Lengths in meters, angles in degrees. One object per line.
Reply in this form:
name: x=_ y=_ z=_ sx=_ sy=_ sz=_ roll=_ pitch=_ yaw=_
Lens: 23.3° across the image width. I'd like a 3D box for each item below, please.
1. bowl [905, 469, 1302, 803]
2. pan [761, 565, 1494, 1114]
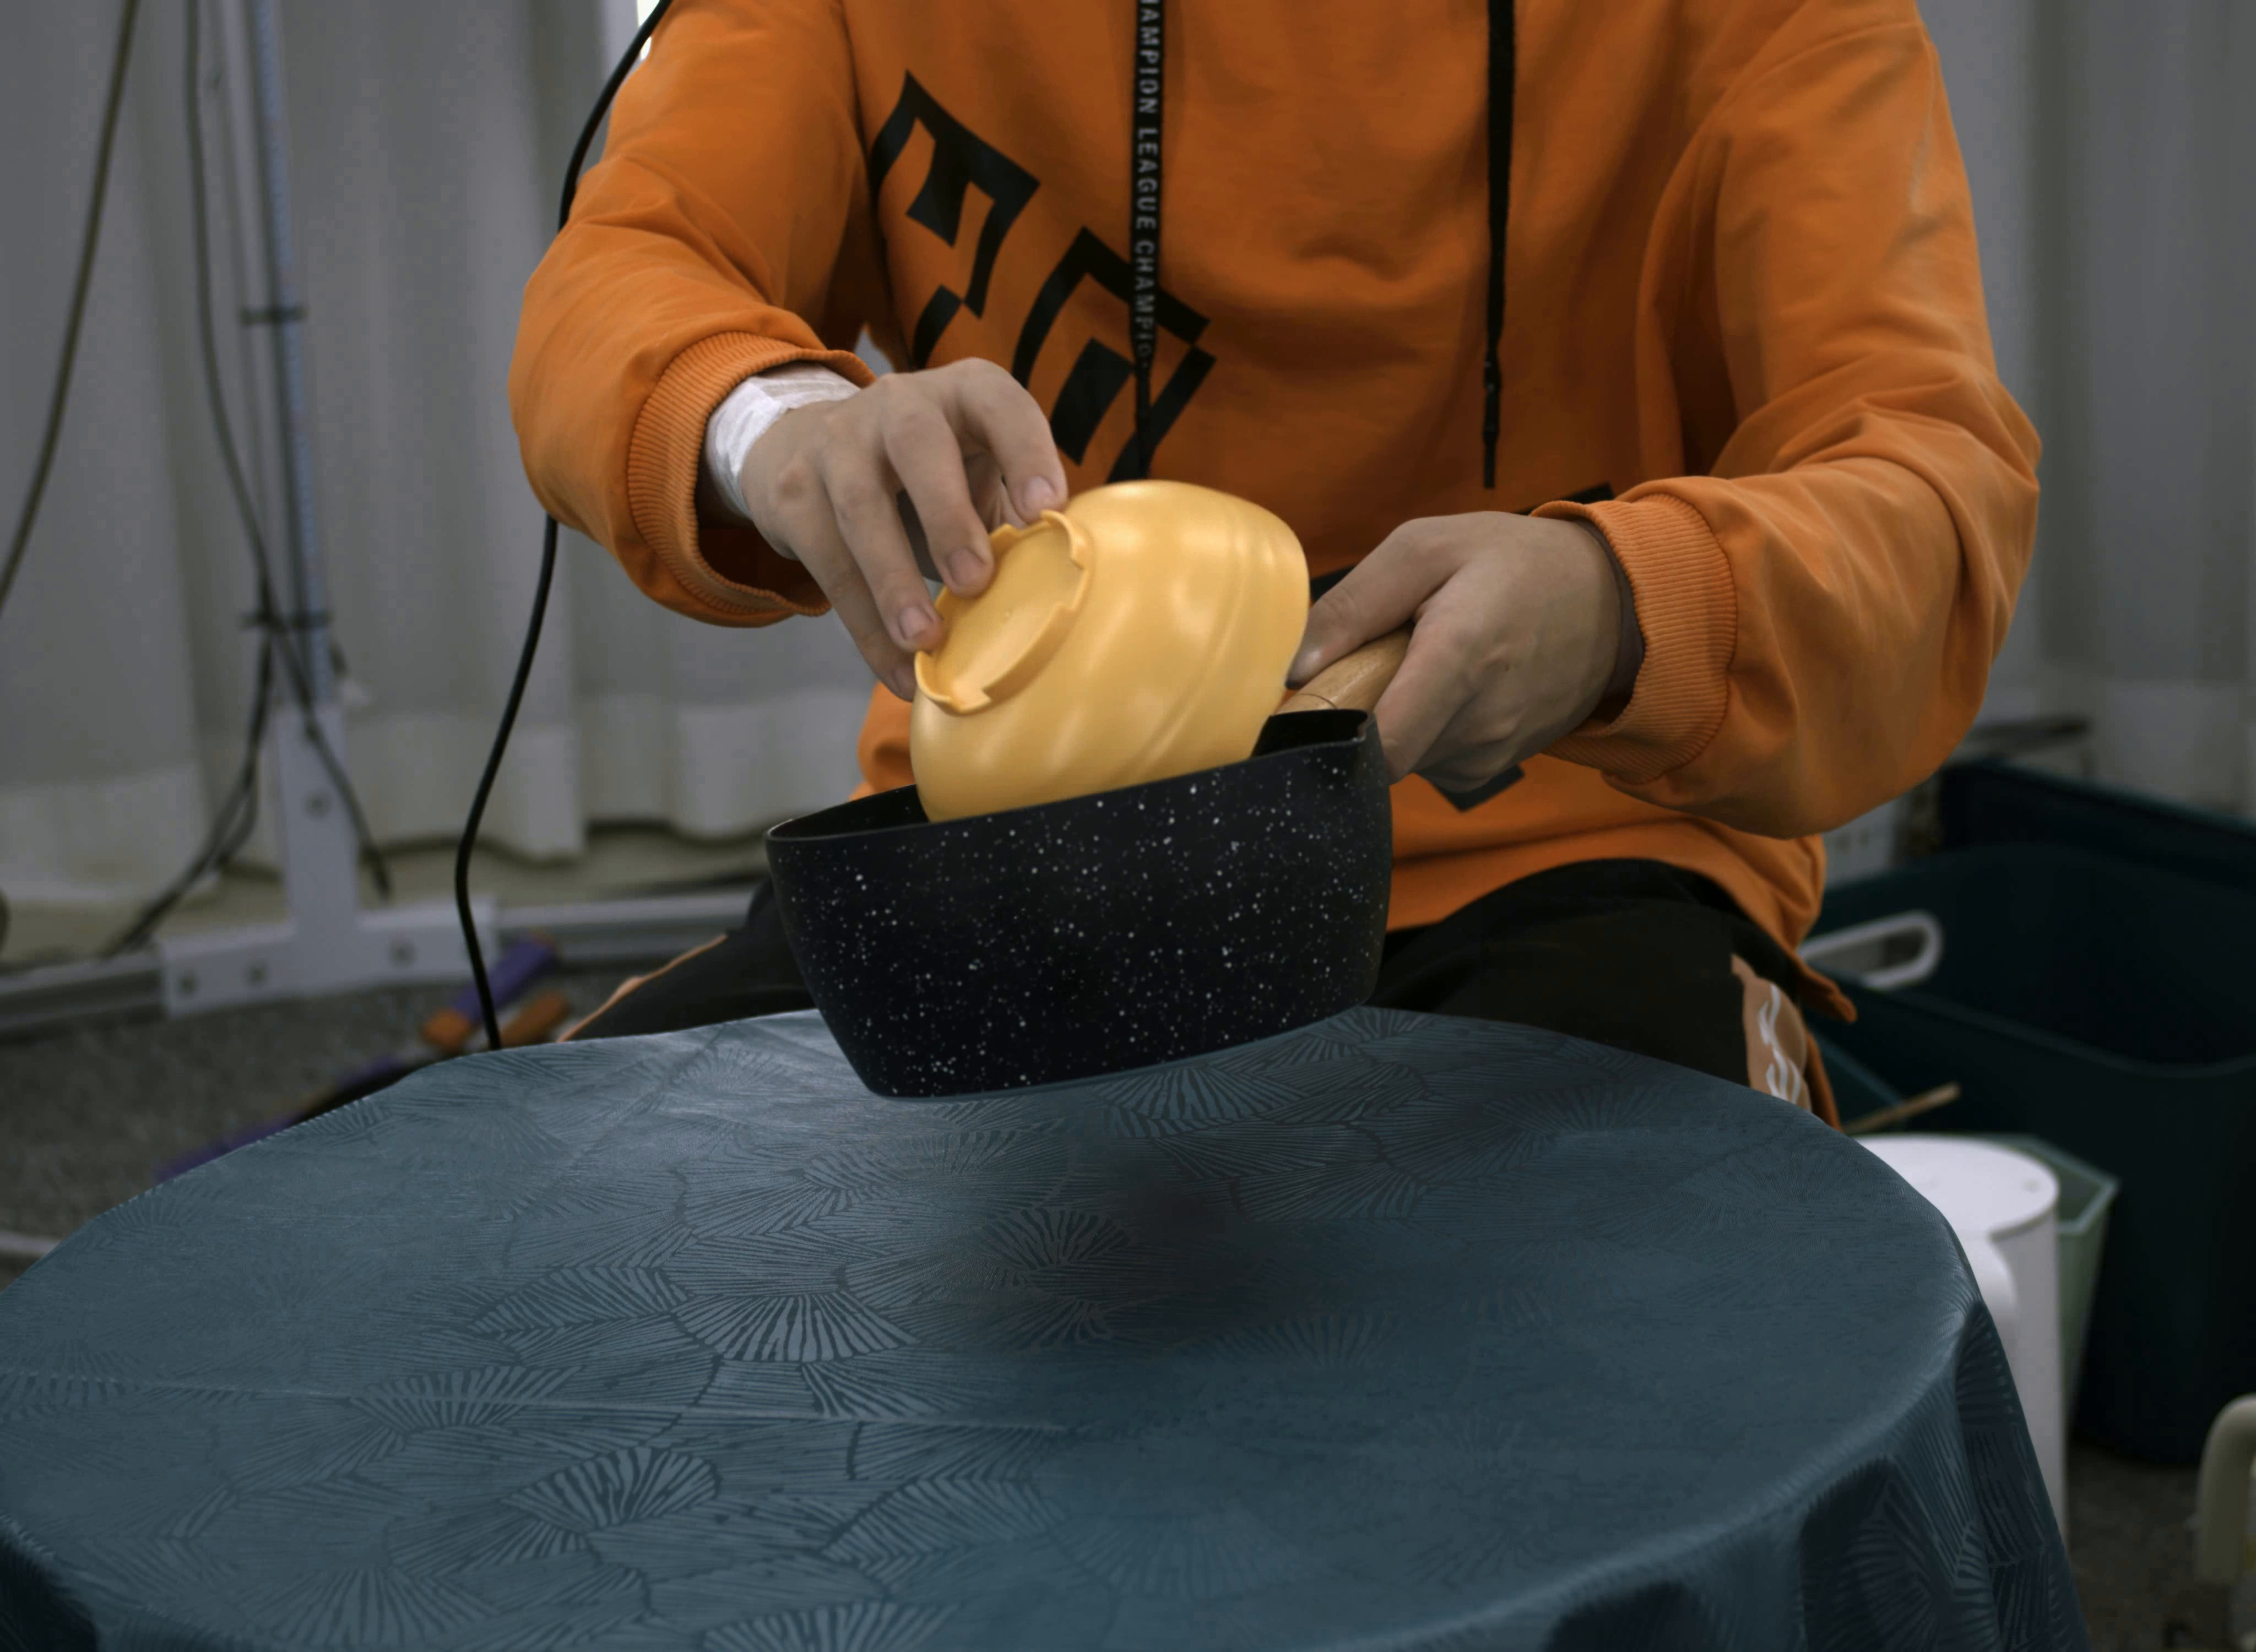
bowl: x=-0.020 y=-0.053 z=1.607 sx=0.059 sy=0.146 sz=0.146 roll=37 pitch=-7 yaw=-30
pan: x=0.029 y=0.000 z=1.677 sx=0.207 sy=0.108 sz=0.342 roll=-9 pitch=6 yaw=33
